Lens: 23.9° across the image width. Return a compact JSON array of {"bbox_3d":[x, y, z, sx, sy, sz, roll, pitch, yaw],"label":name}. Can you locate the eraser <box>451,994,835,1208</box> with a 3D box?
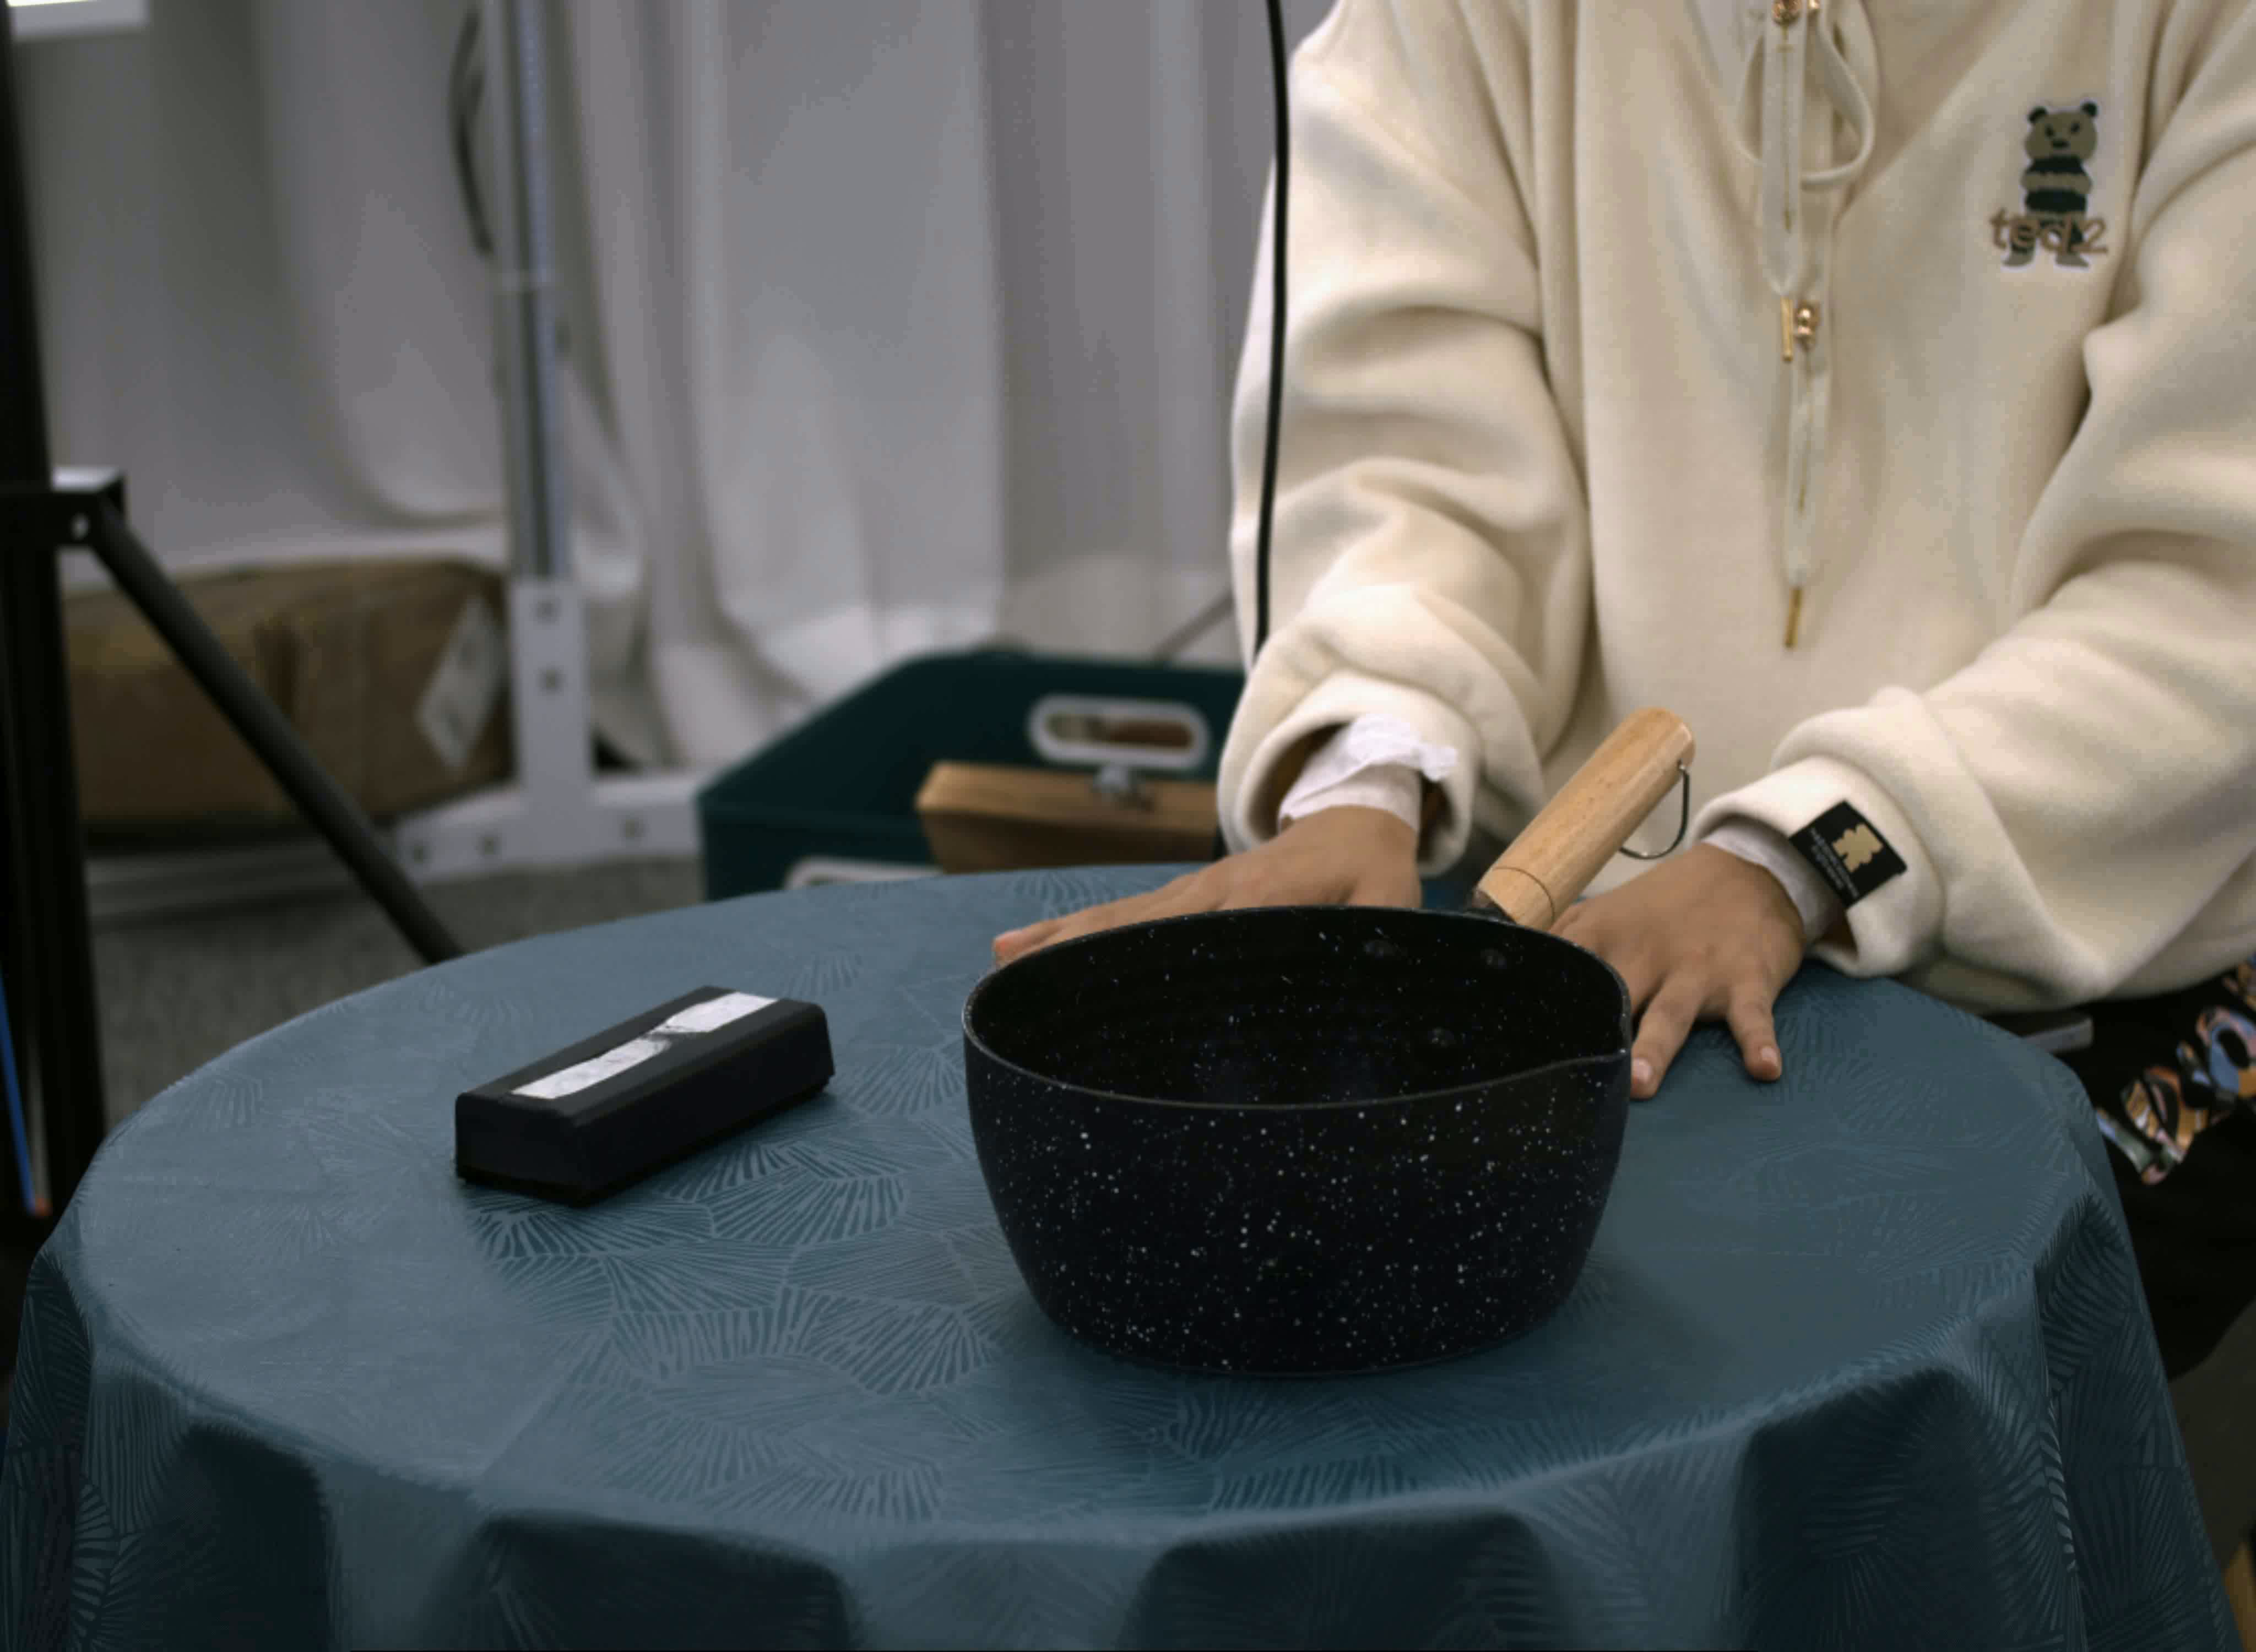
[{"bbox_3d":[-0.146,0.083,1.622,0.054,0.030,0.123,9,18,34],"label":"eraser"}]

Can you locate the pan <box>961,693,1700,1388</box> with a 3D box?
[{"bbox_3d":[0.085,0.056,1.527,0.211,0.108,0.337,5,19,29],"label":"pan"}]
